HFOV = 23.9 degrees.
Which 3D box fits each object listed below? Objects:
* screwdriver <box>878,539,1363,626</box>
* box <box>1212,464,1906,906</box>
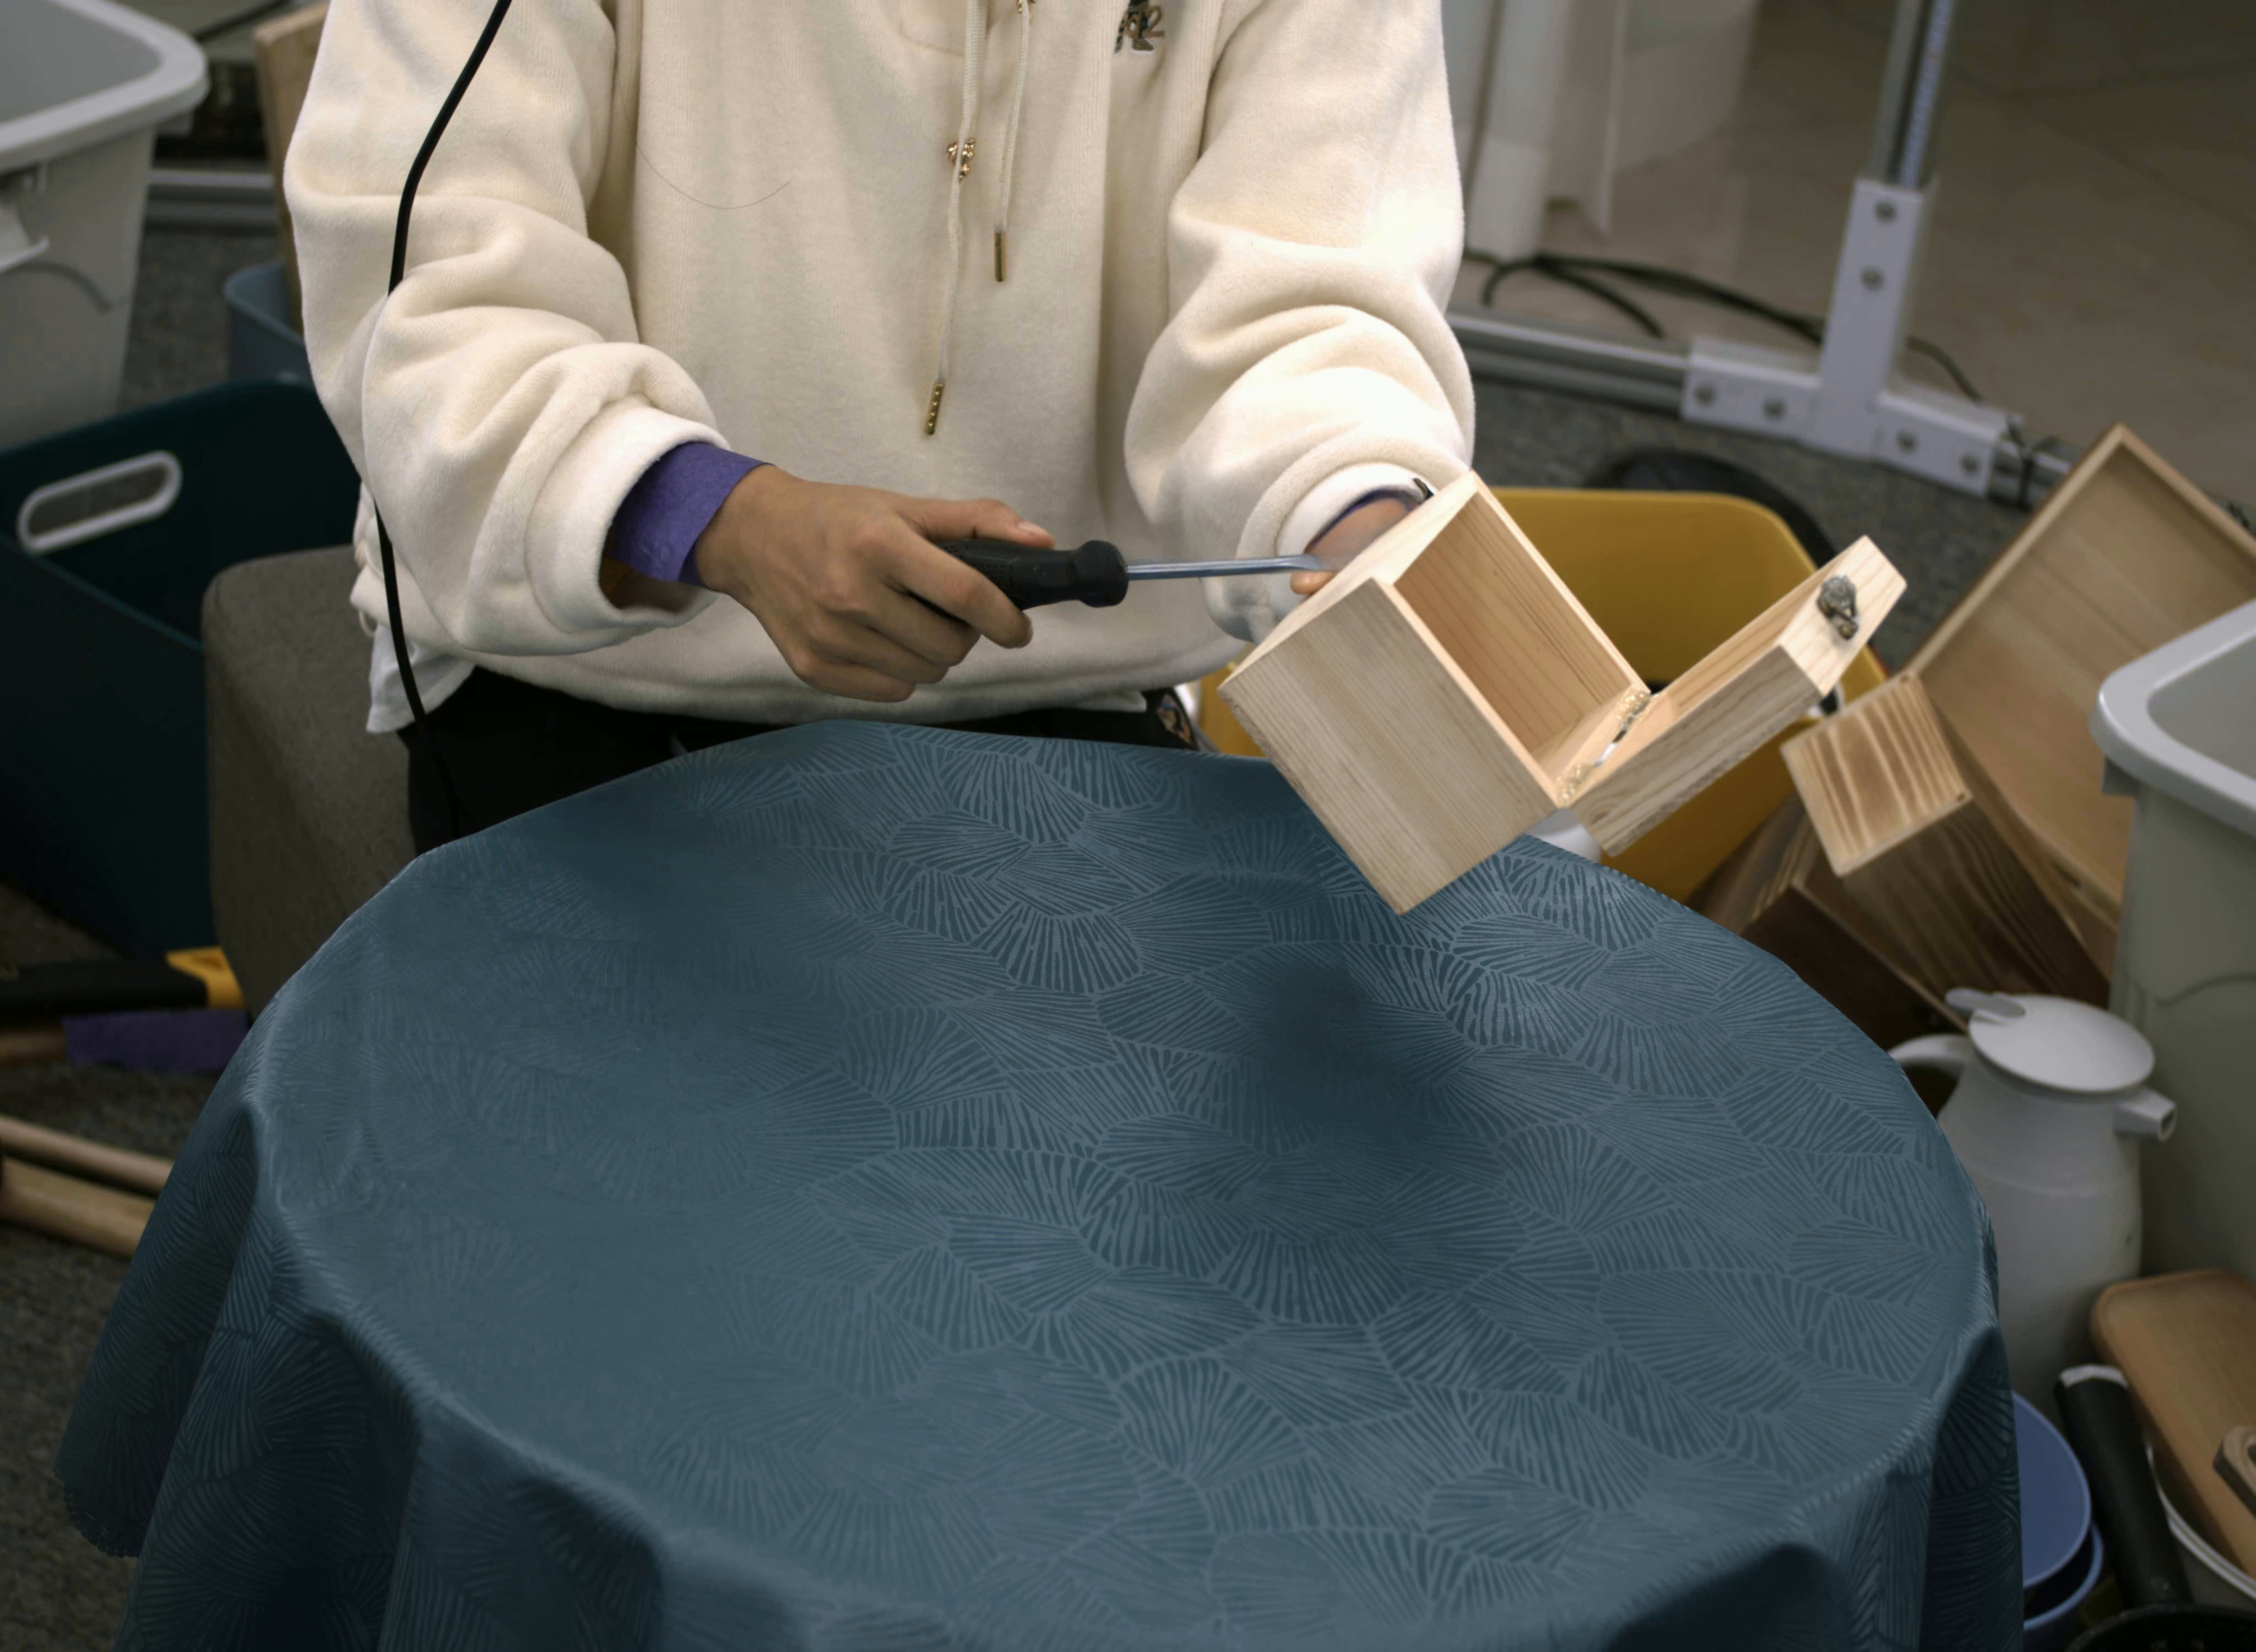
[{"bbox_3d":[-0.004,-0.085,1.854,0.198,0.031,0.031,1,20,34],"label":"screwdriver"},{"bbox_3d":[0.146,-0.066,1.804,0.134,0.184,0.102,52,34,-5],"label":"box"}]
